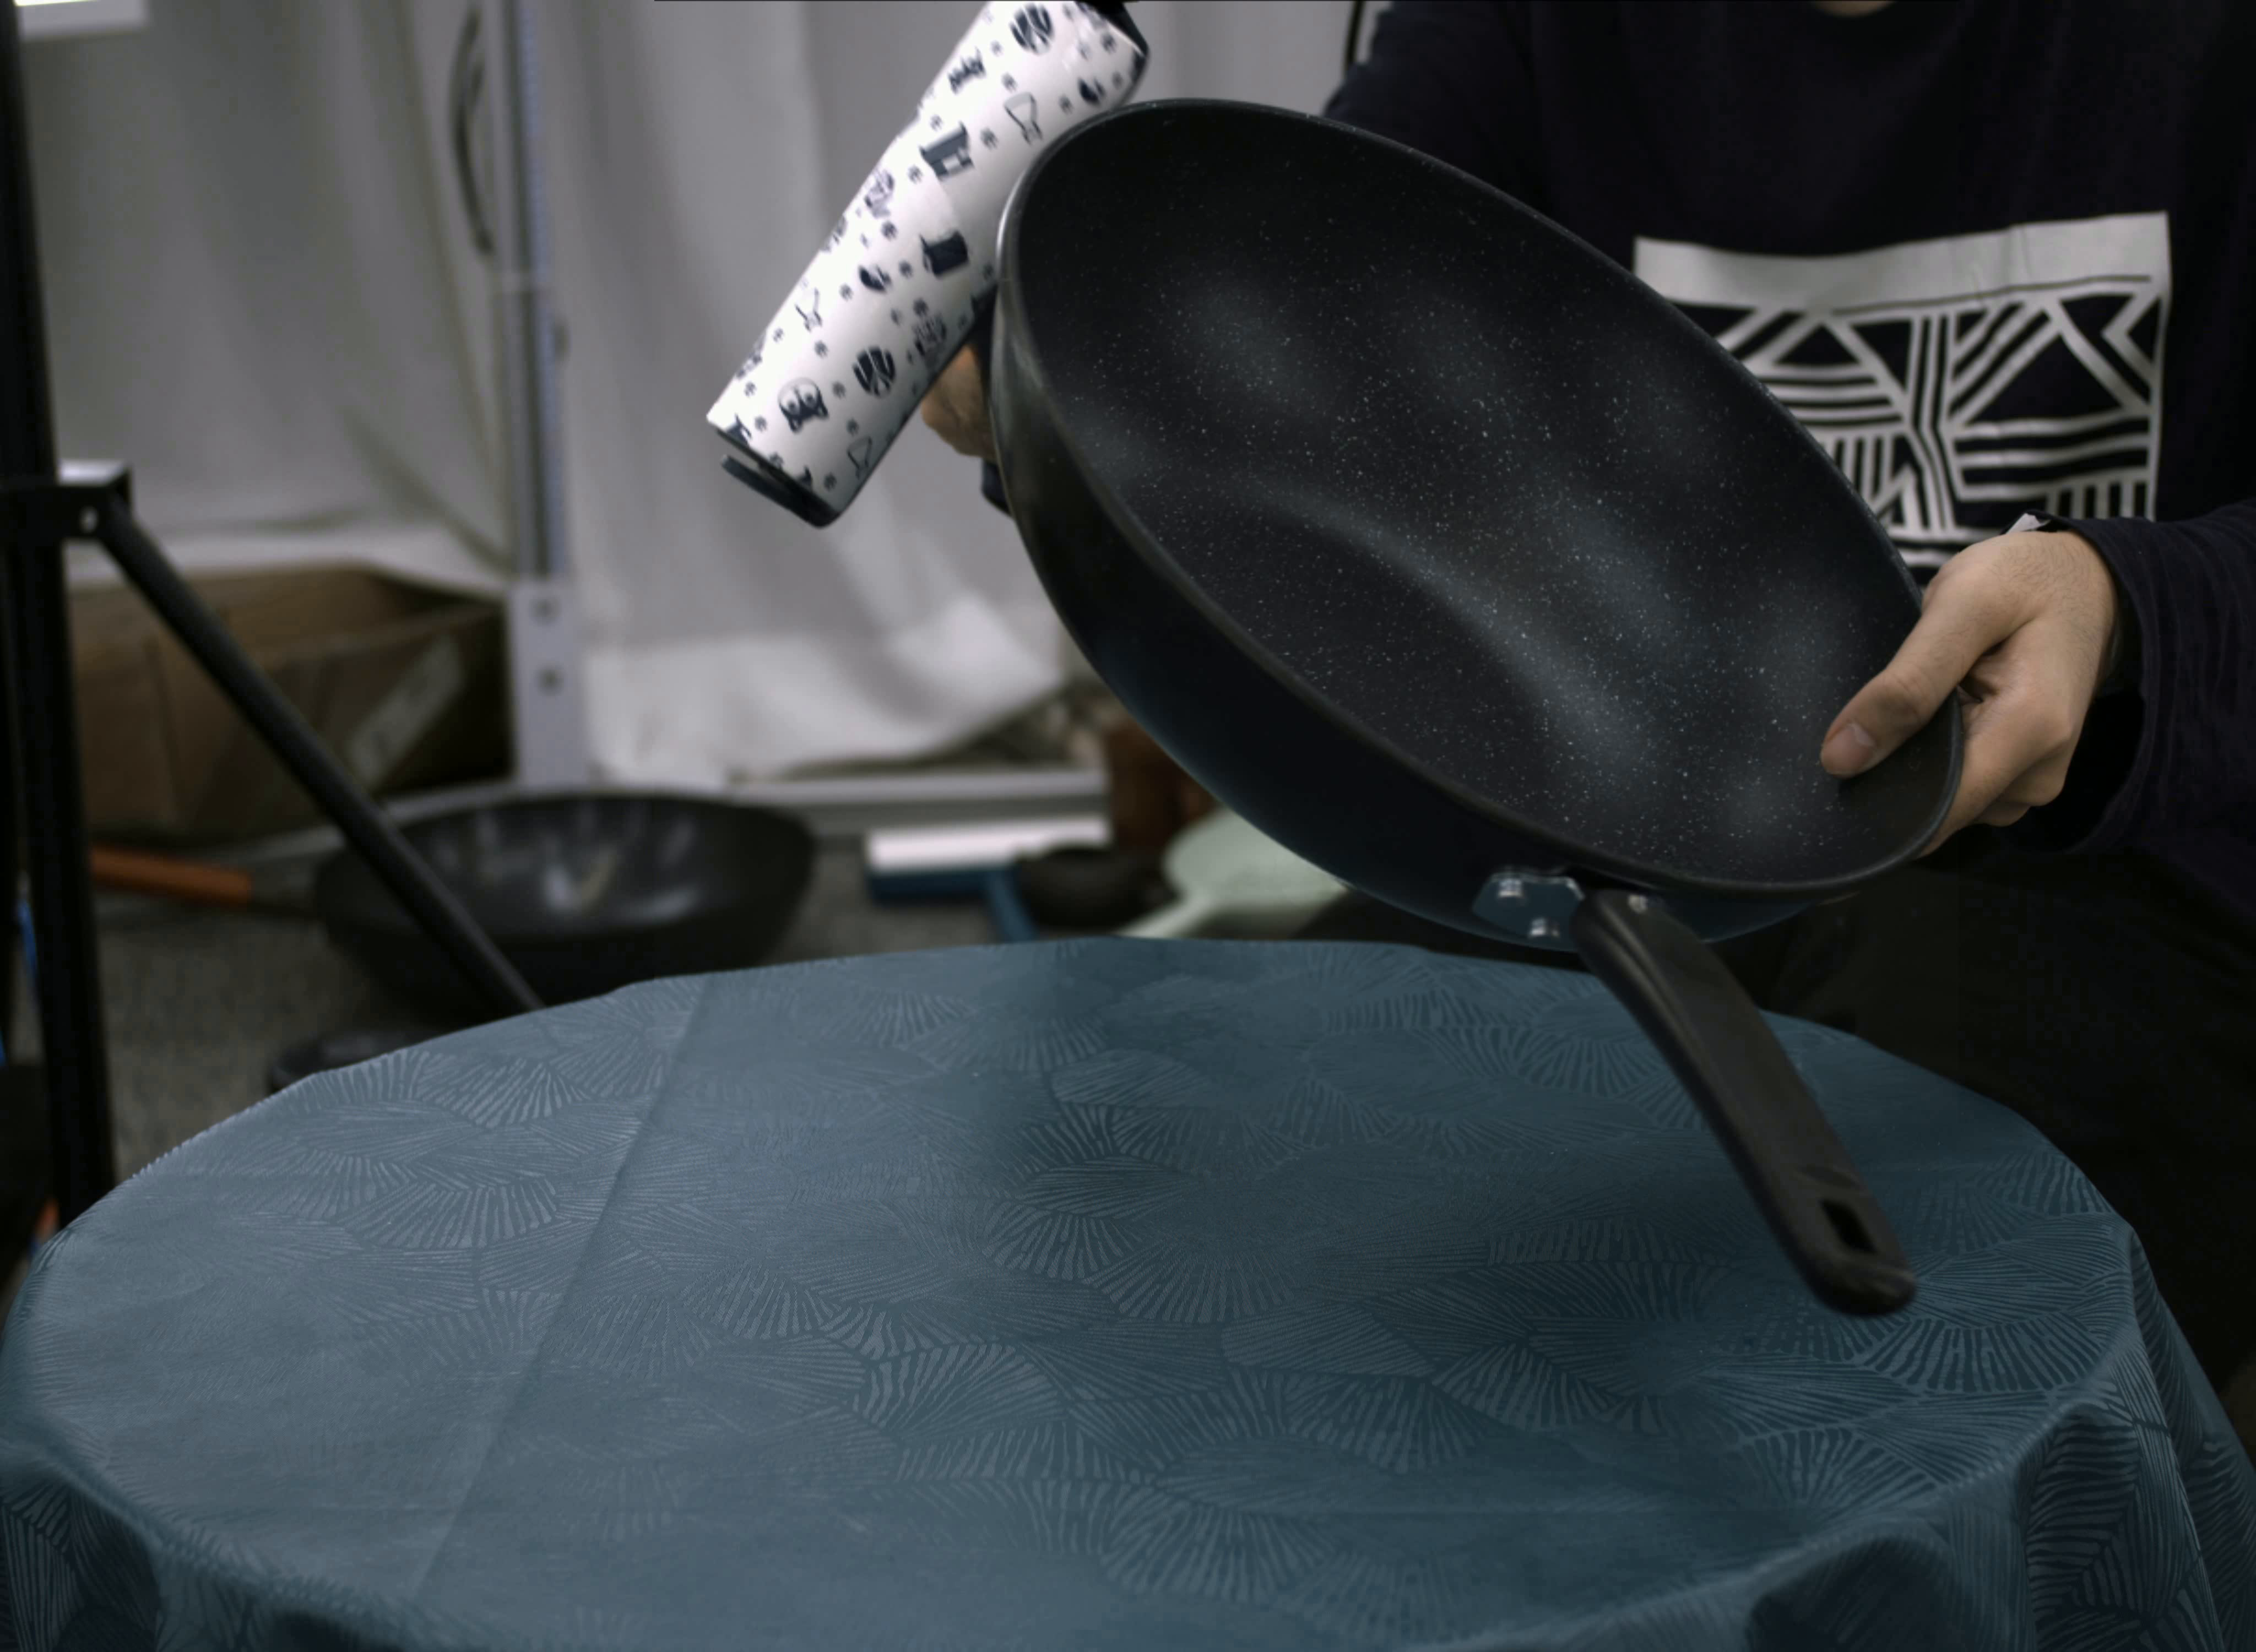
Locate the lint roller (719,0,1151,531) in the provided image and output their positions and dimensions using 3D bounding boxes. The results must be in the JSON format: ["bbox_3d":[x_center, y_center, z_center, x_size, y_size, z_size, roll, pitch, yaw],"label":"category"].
[{"bbox_3d":[-0.039,-0.153,1.647,0.051,0.176,0.244,34,-2,14],"label":"lint roller"}]

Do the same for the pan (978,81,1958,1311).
[{"bbox_3d":[0.101,-0.022,1.410,0.303,0.112,0.484,15,38,-26],"label":"pan"}]
